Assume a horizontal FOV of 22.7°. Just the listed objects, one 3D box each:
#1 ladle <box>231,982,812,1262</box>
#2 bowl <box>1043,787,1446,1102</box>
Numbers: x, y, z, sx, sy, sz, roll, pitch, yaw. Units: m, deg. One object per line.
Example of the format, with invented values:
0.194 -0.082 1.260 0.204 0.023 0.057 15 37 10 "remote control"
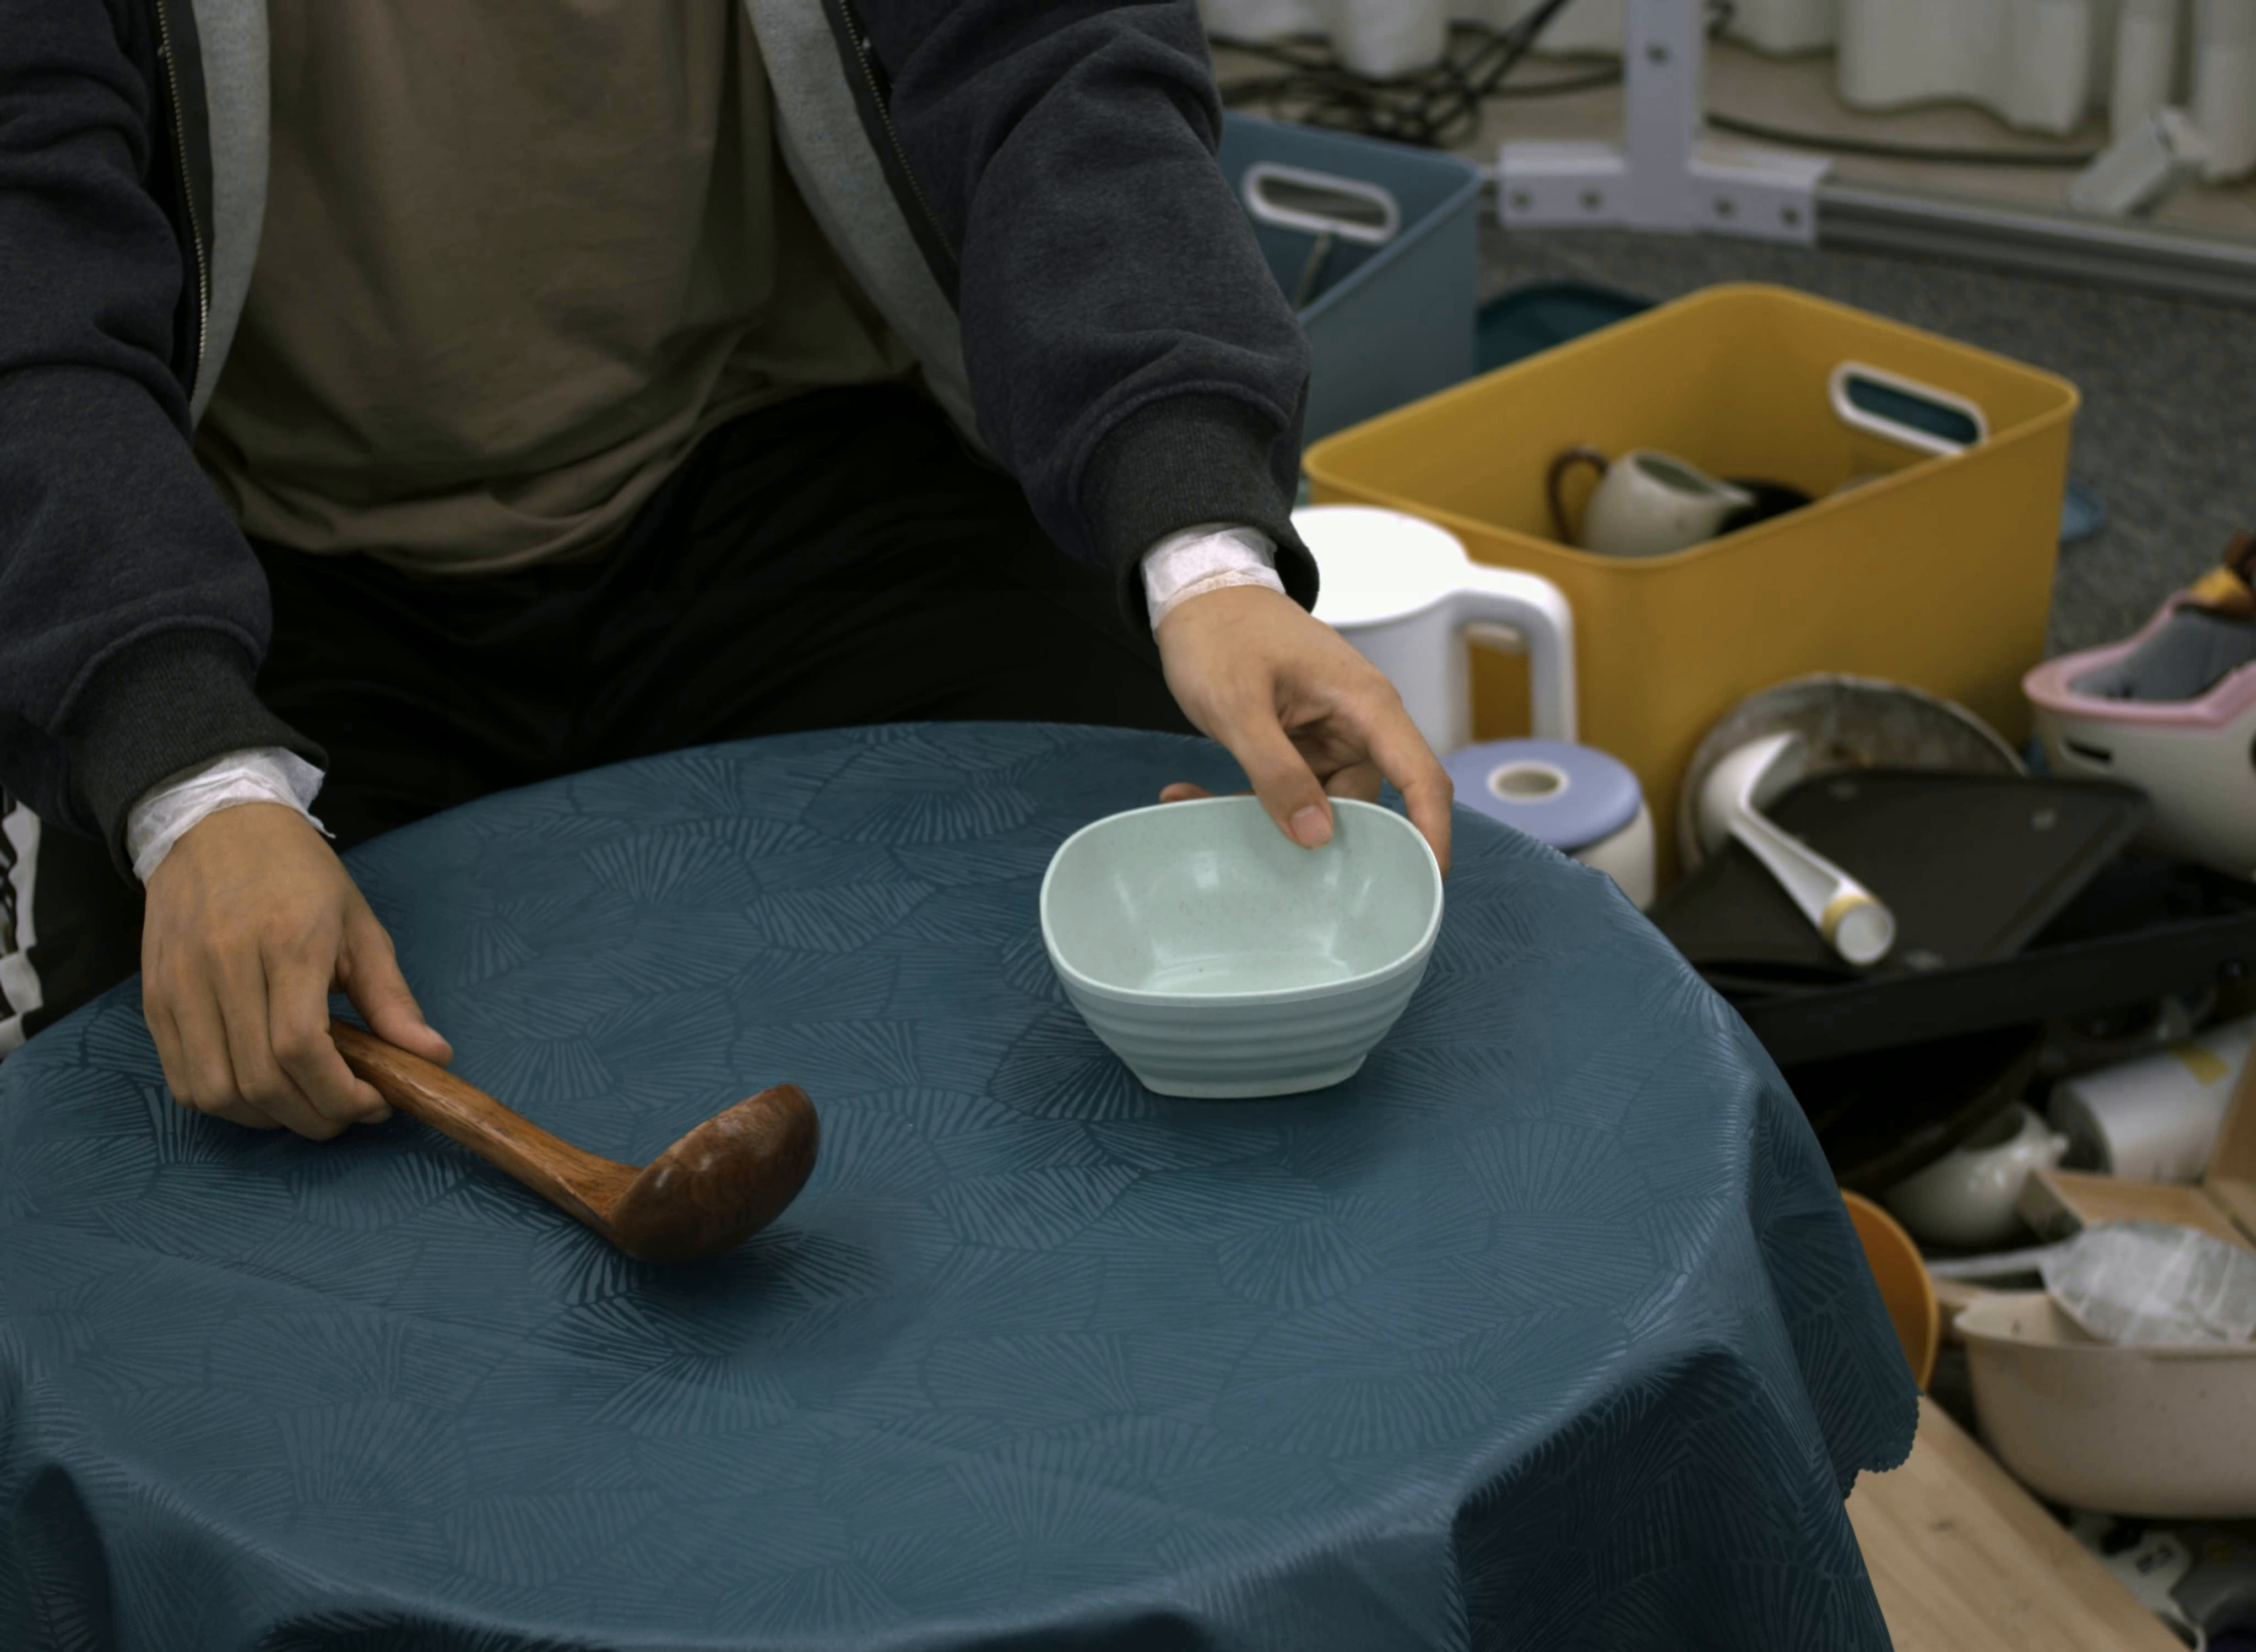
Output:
-0.213 0.078 1.877 0.274 0.076 0.083 25 31 38 "ladle"
0.041 0.047 1.936 0.150 0.058 0.154 -3 31 2 "bowl"
